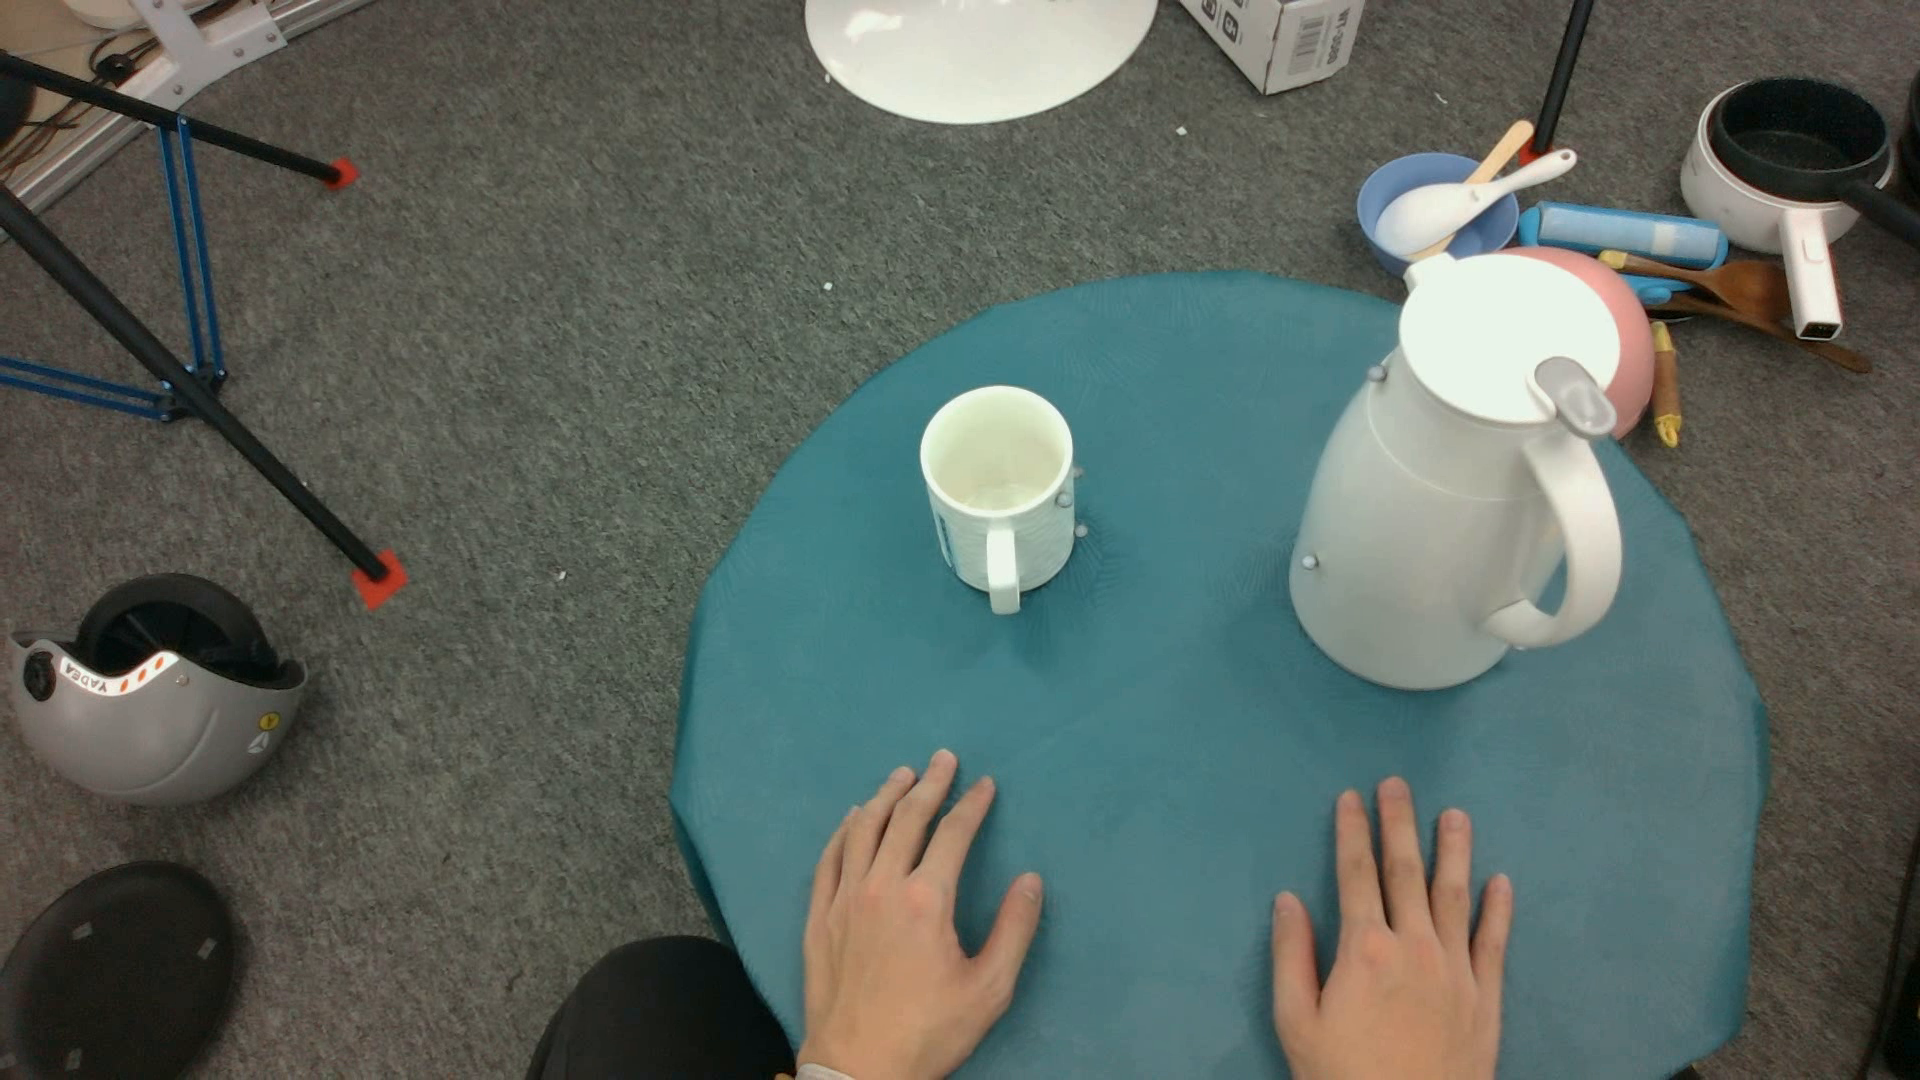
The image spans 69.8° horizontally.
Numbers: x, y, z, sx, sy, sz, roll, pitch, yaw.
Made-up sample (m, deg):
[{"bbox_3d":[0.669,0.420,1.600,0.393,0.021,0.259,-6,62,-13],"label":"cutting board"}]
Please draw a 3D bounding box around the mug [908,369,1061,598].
[{"bbox_3d":[0.018,-0.022,0.795,0.085,0.101,0.119,-5,59,2],"label":"mug"}]

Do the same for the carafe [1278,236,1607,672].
[{"bbox_3d":[0.252,-0.028,0.695,0.132,0.247,0.168,-23,62,-8],"label":"carafe"}]
